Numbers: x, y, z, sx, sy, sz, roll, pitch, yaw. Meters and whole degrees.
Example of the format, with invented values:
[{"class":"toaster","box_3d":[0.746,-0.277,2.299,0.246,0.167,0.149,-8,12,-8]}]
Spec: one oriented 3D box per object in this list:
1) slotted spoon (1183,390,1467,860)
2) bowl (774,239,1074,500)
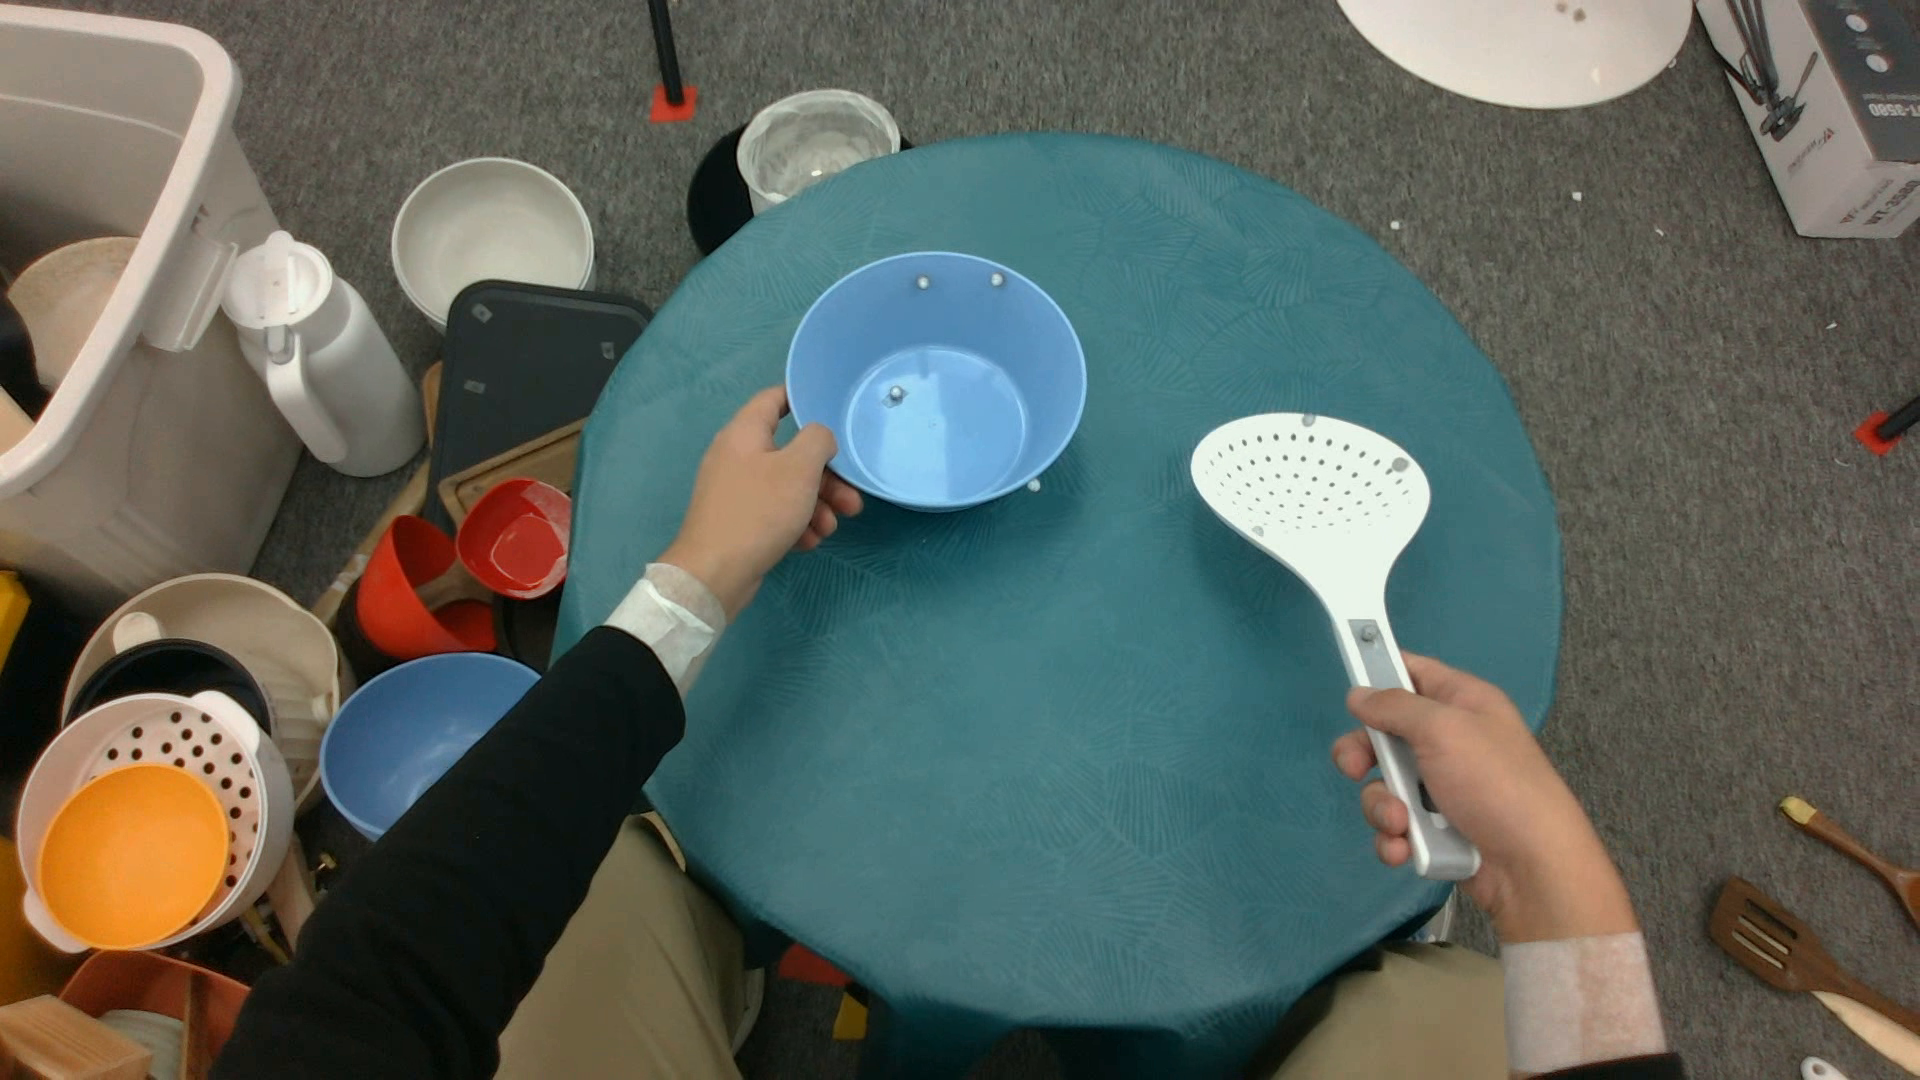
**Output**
[{"class":"slotted spoon","box_3d":[0.203,0.025,0.733,0.136,0.045,0.351,0,35,-3]},{"class":"bowl","box_3d":[-0.022,-0.091,0.830,0.176,0.070,0.176,1,65,-2]}]
